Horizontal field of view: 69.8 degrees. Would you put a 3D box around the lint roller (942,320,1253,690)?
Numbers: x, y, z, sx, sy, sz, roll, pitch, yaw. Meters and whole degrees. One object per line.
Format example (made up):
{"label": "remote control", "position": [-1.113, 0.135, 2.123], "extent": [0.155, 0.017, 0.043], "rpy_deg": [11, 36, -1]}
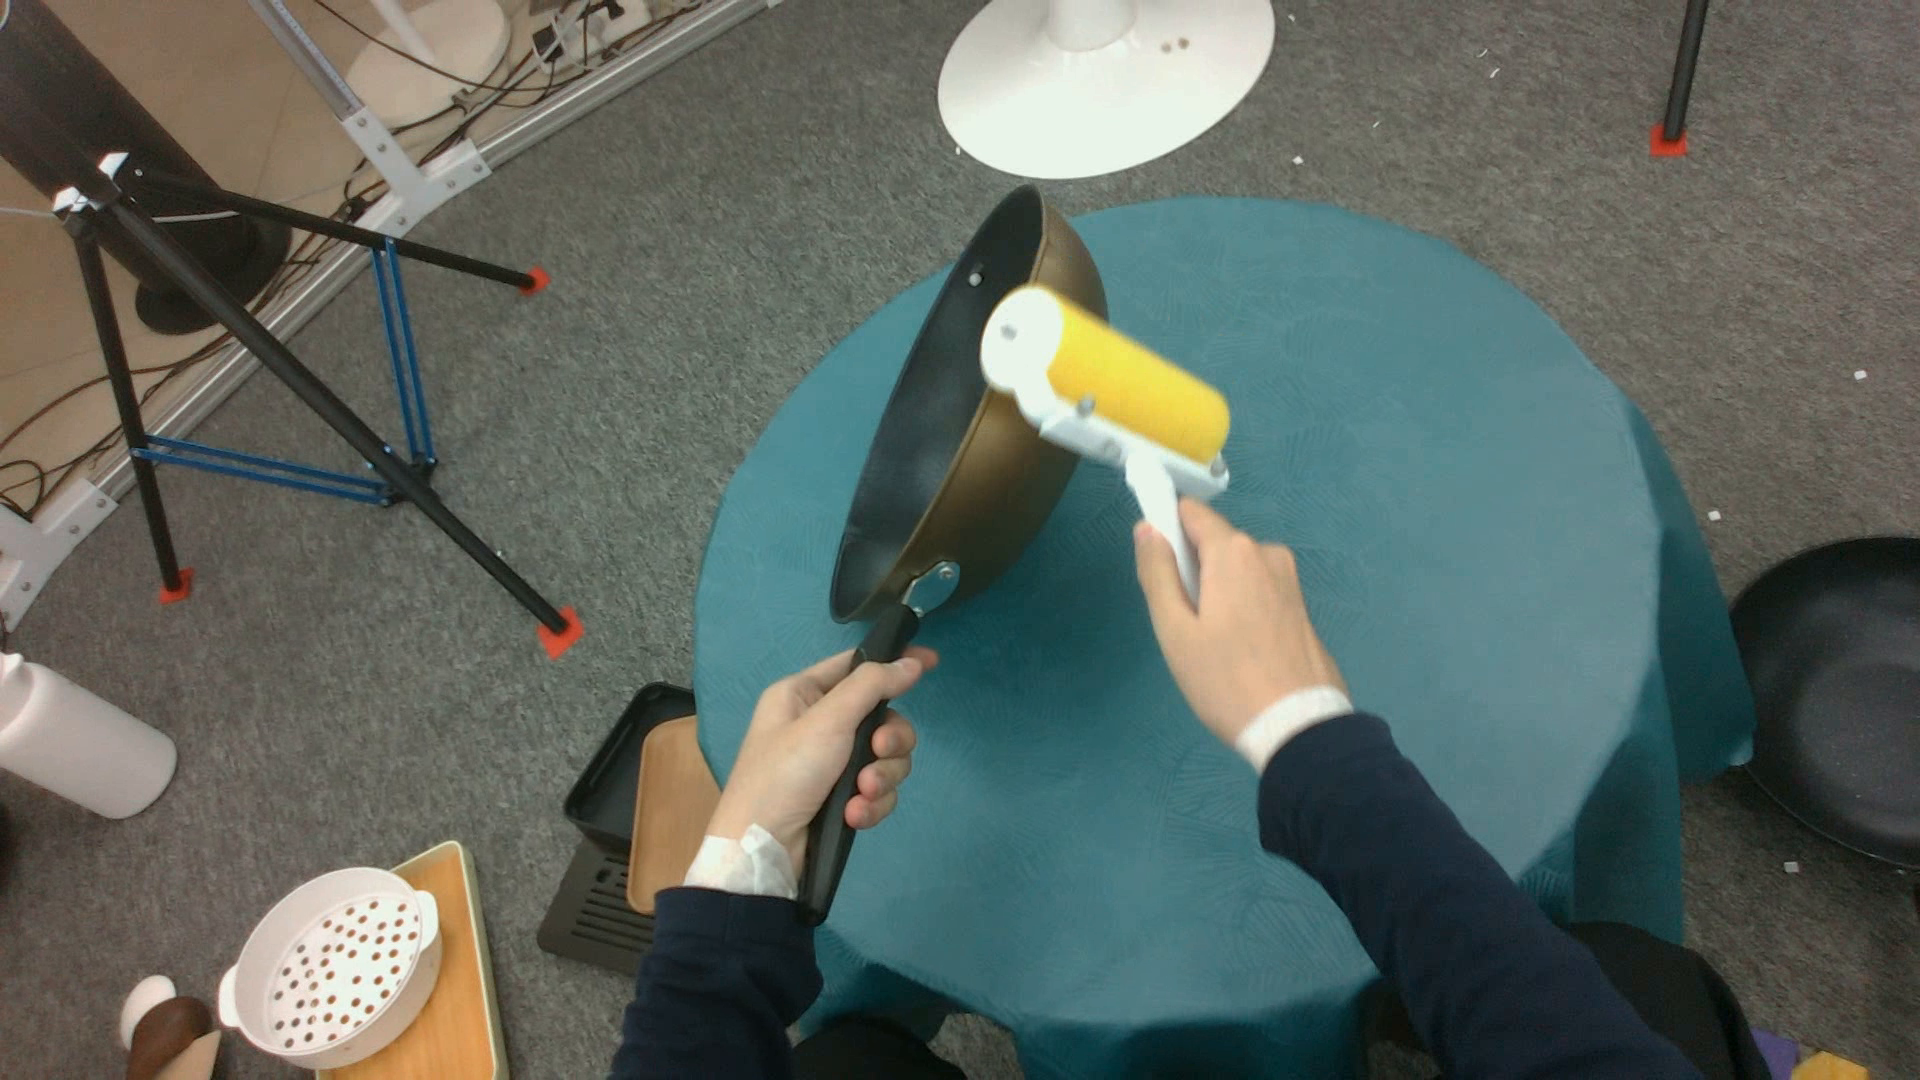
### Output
{"label": "lint roller", "position": [0.094, -0.017, 0.663], "extent": [0.051, 0.174, 0.192], "rpy_deg": [-49, 56, 24]}

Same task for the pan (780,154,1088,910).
{"label": "pan", "position": [-0.011, -0.010, 0.759], "extent": [0.087, 0.286, 0.465], "rpy_deg": [22, 49, -15]}
